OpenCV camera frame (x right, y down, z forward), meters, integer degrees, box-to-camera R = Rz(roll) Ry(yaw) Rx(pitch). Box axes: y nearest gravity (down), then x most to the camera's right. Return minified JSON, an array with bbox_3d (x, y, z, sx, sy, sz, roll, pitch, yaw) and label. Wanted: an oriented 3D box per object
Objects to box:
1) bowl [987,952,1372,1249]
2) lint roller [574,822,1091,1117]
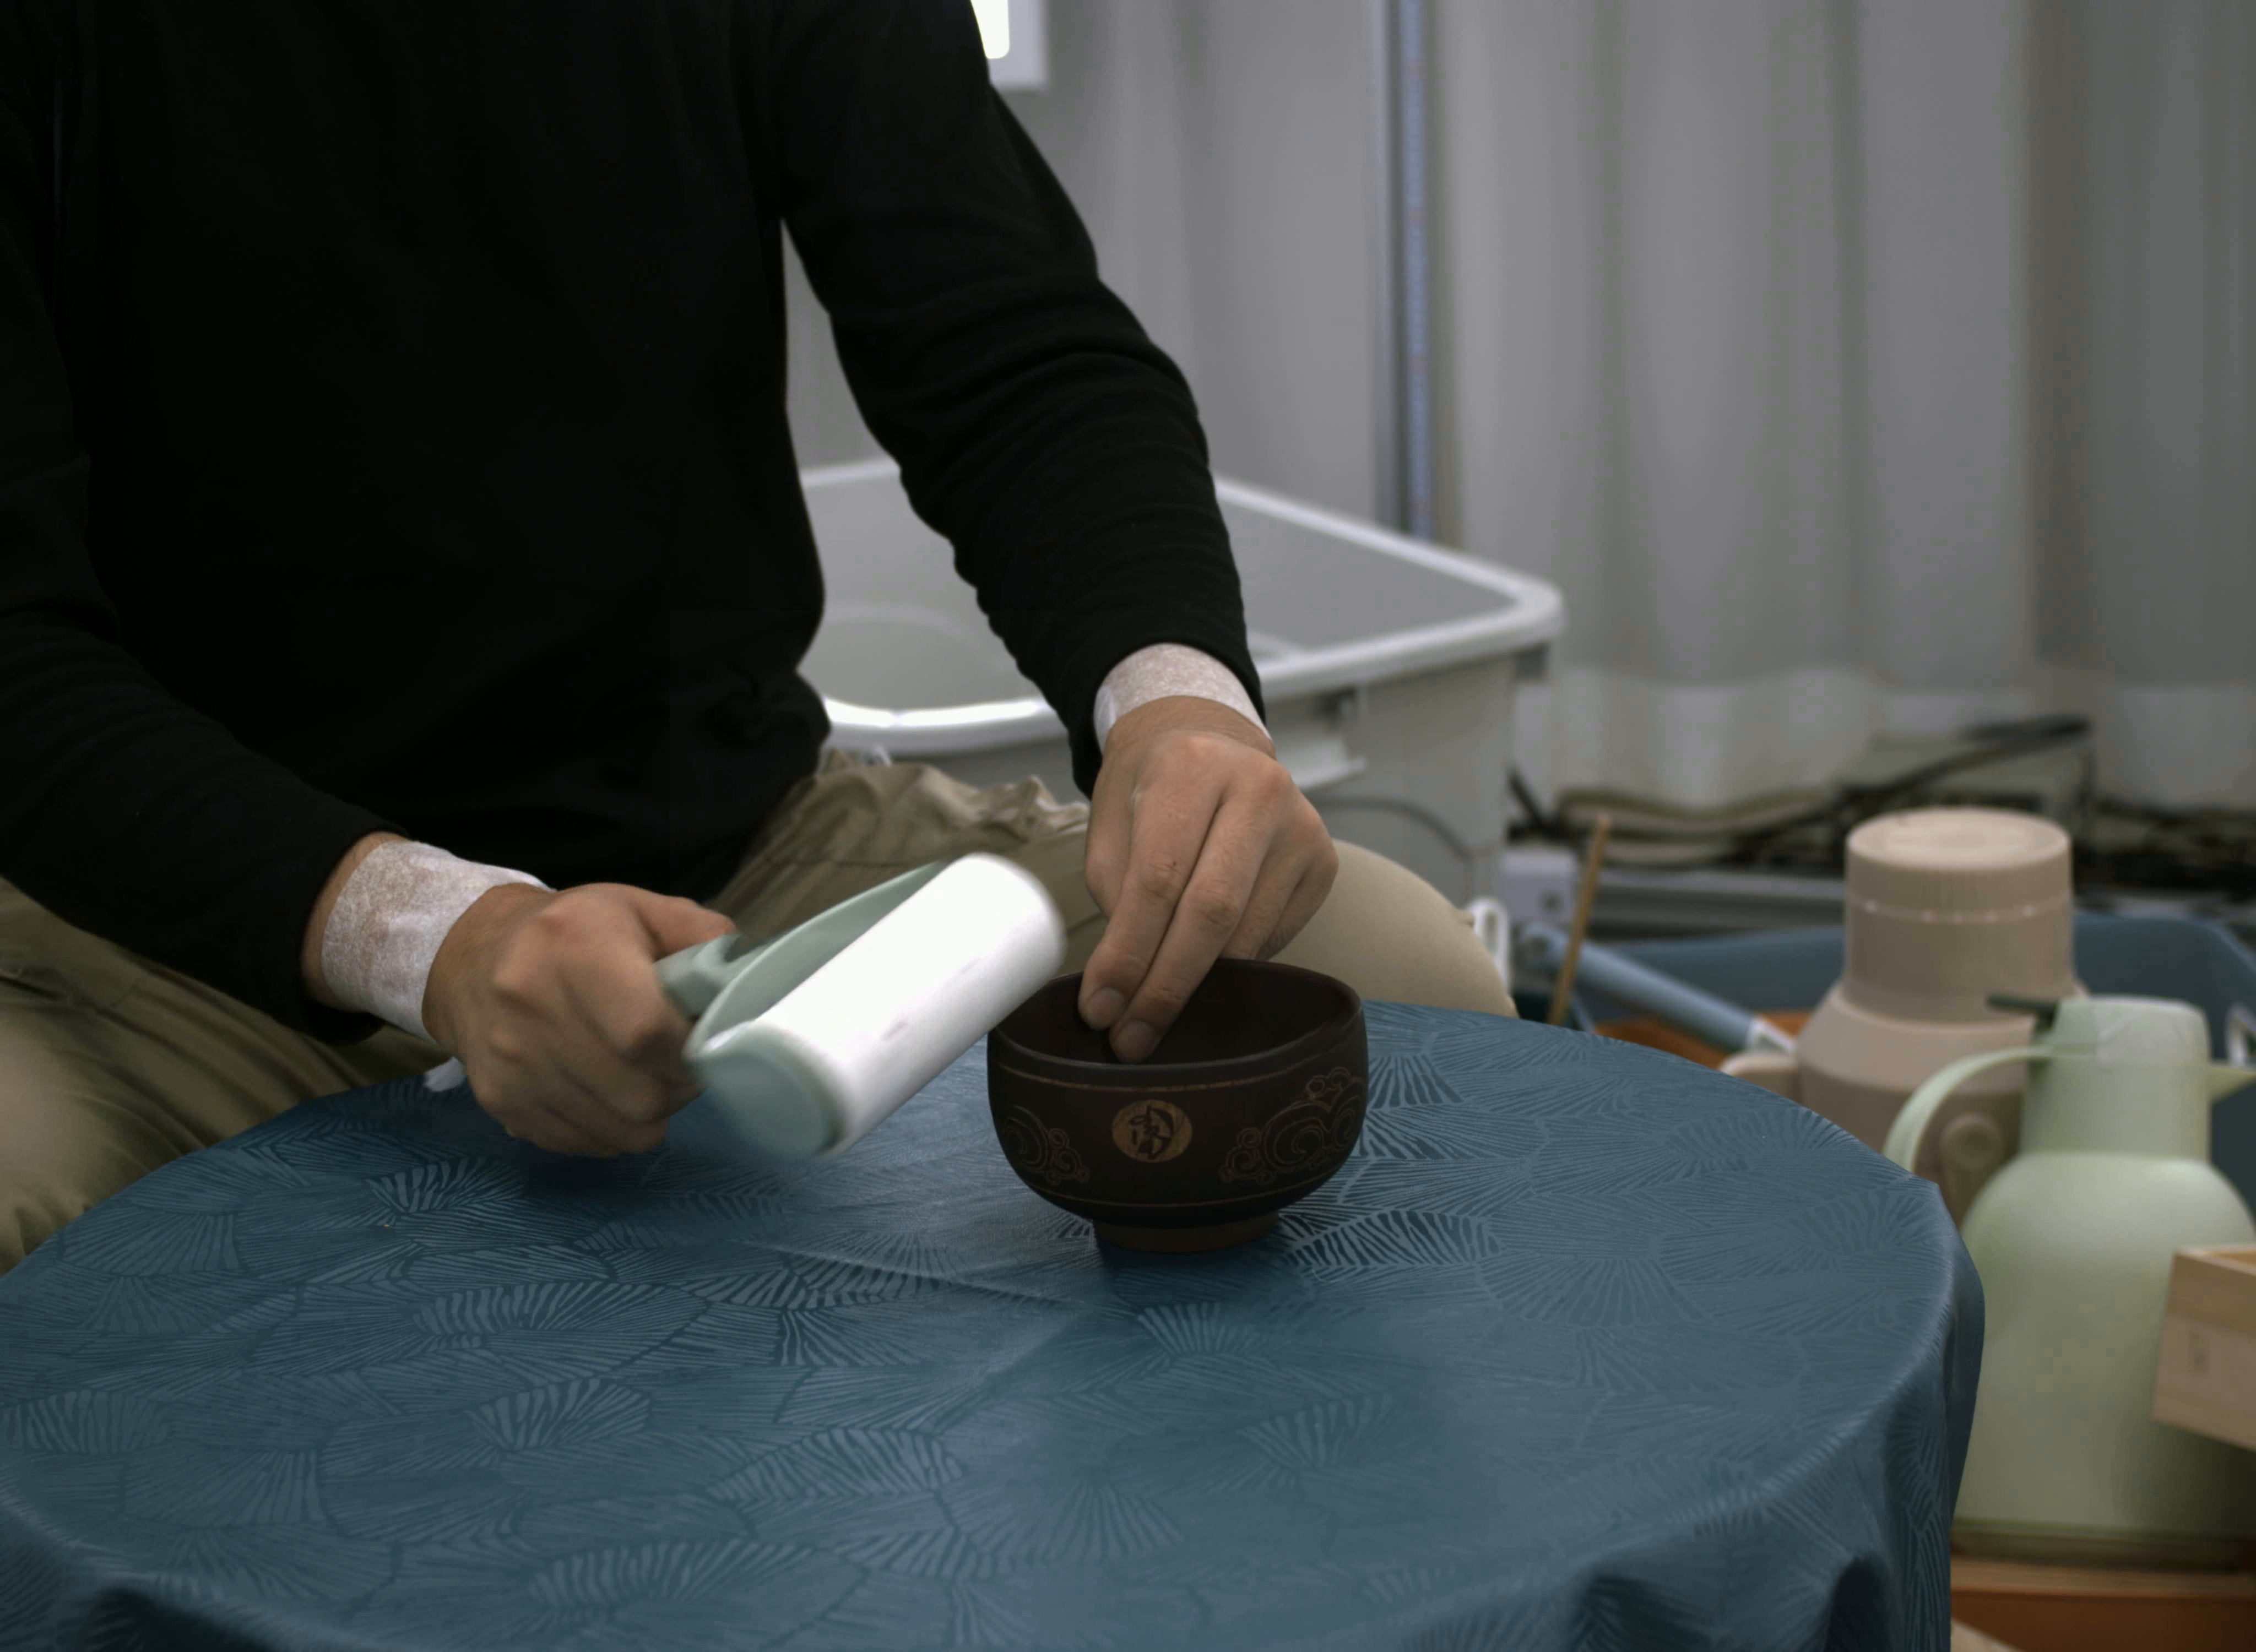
[{"bbox_3d":[0.017,0.088,1.673,0.117,0.069,0.119,-4,14,1],"label":"bowl"},{"bbox_3d":[-0.109,0.052,1.705,0.197,0.048,0.117,-9,24,44],"label":"lint roller"}]
